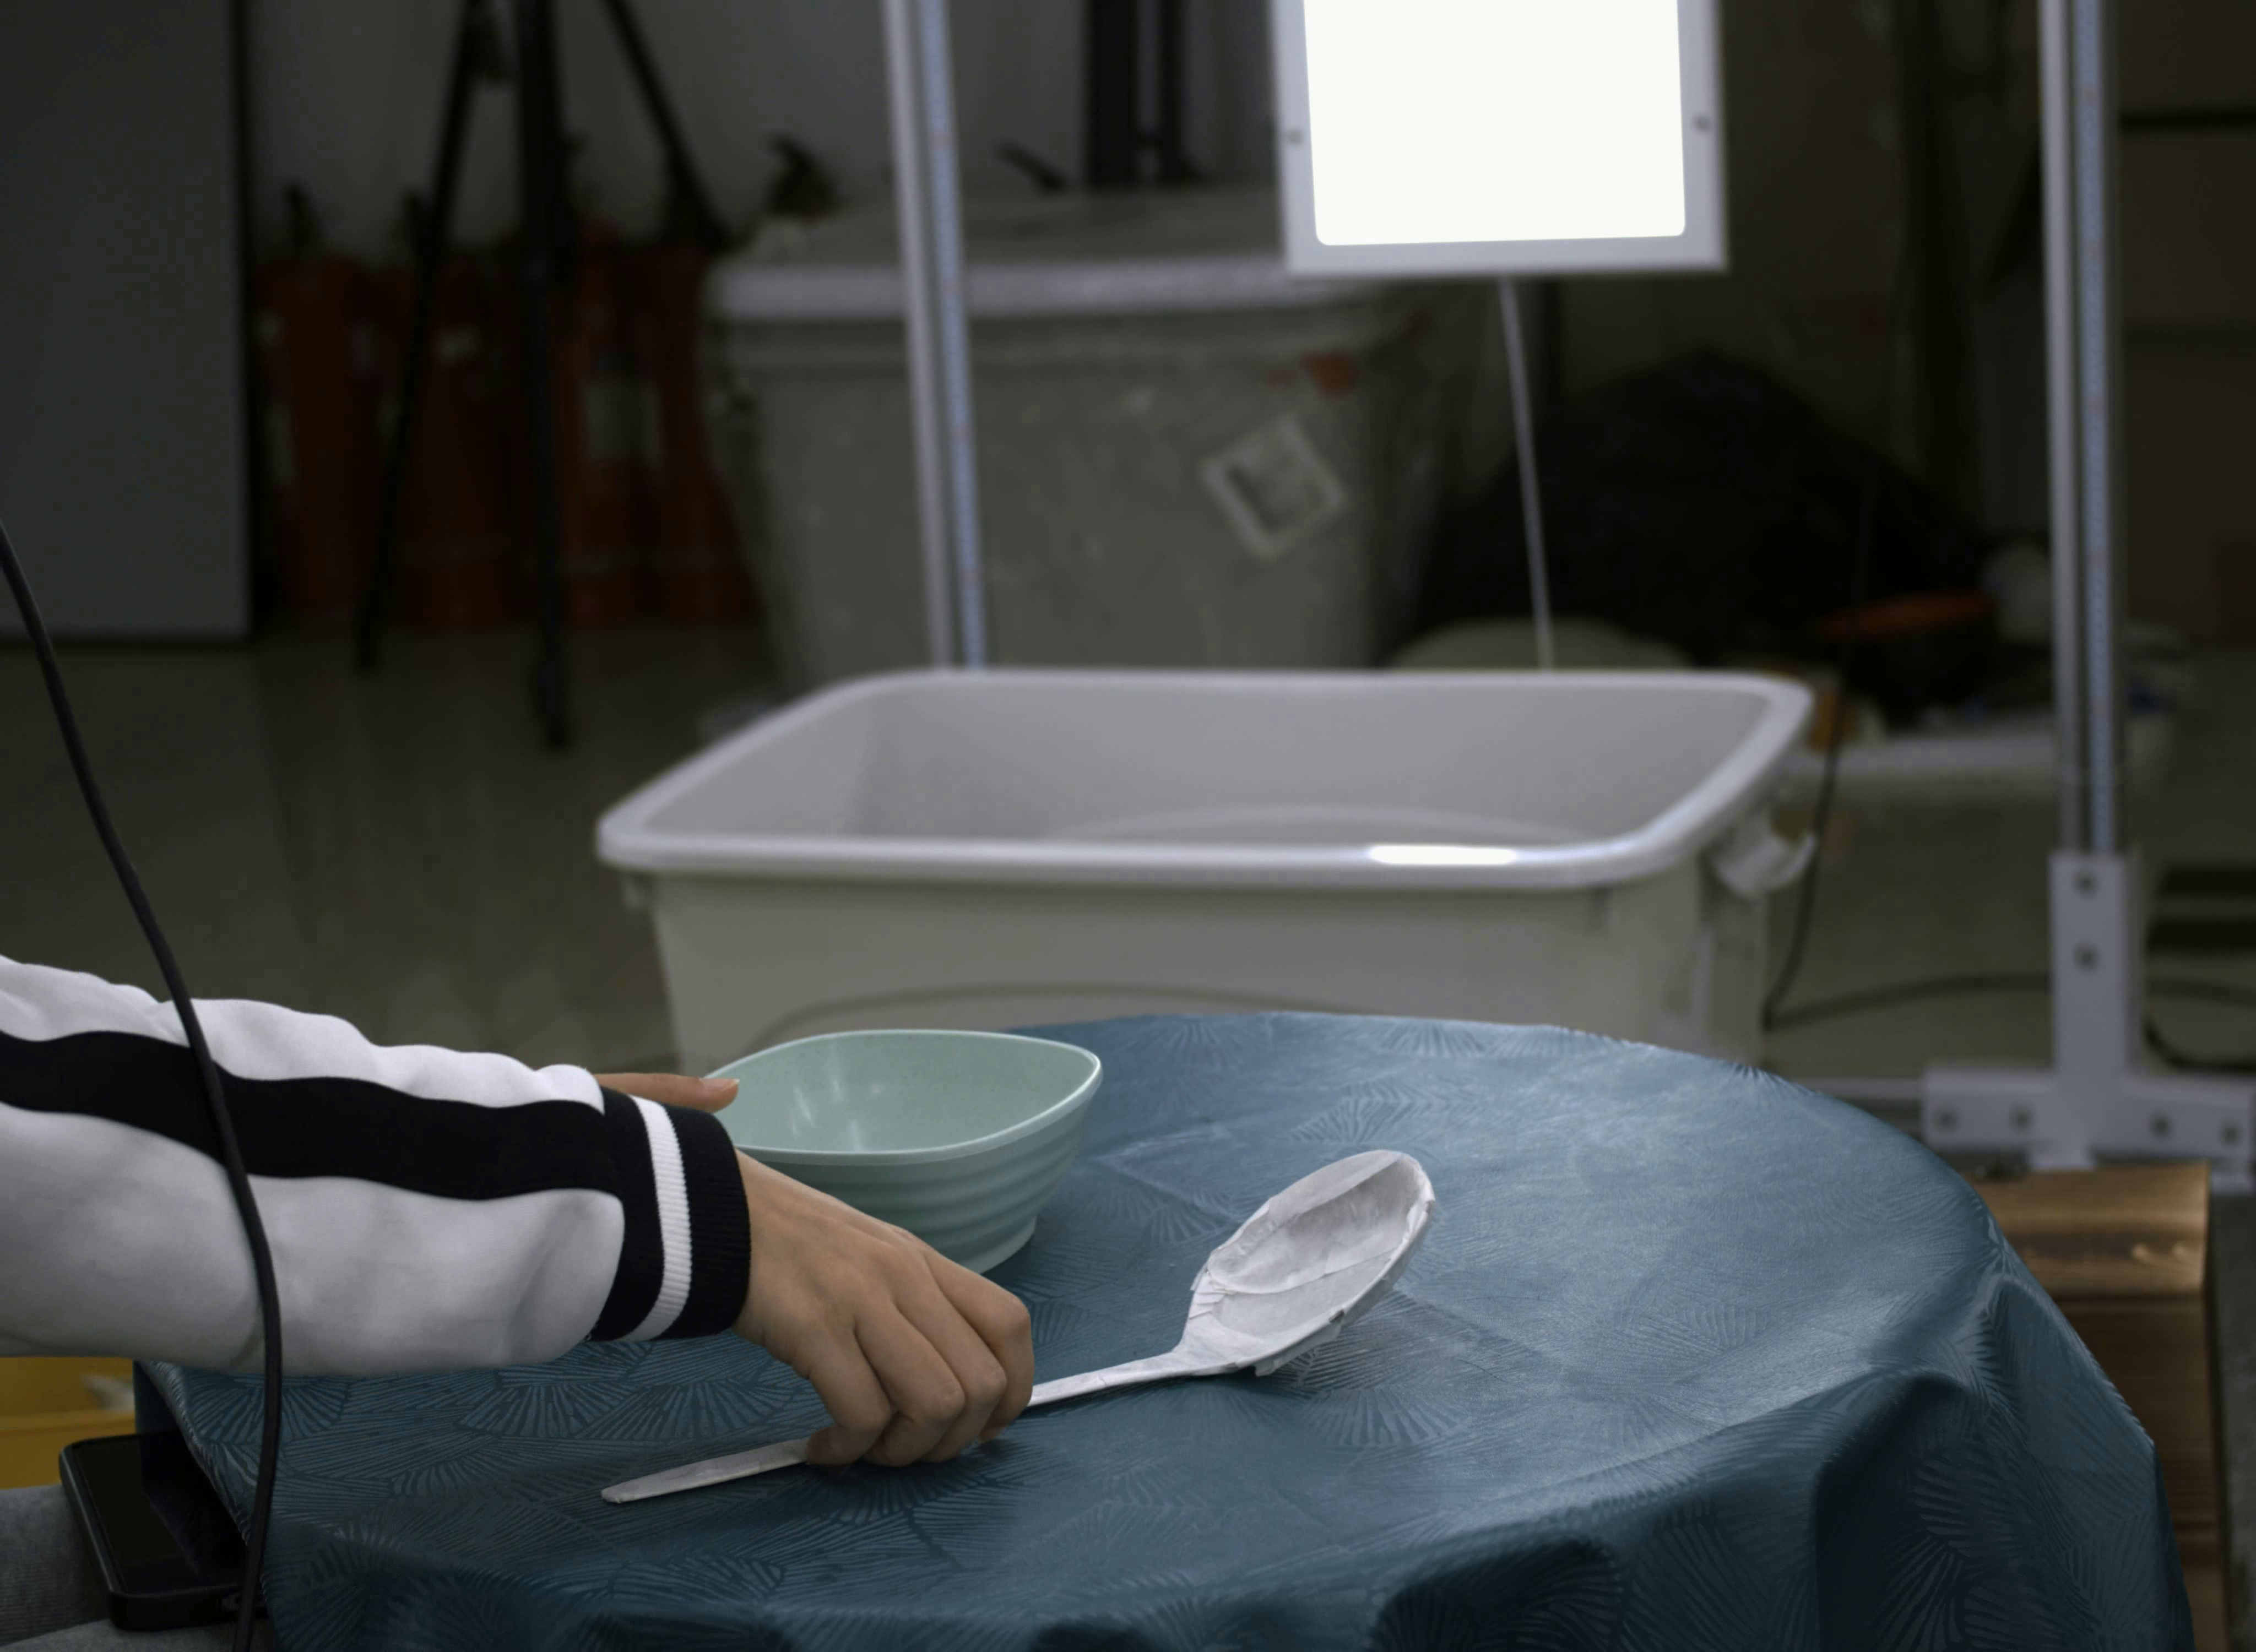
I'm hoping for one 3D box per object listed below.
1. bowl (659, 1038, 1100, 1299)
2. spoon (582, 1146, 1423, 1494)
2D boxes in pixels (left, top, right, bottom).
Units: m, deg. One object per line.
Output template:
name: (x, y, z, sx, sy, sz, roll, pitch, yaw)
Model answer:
bowl: (-0.081, 0.118, 1.850, 0.151, 0.059, 0.151, -4, 13, 0)
spoon: (-0.038, 0.150, 1.696, 0.273, 0.059, 0.102, -9, 8, -16)
